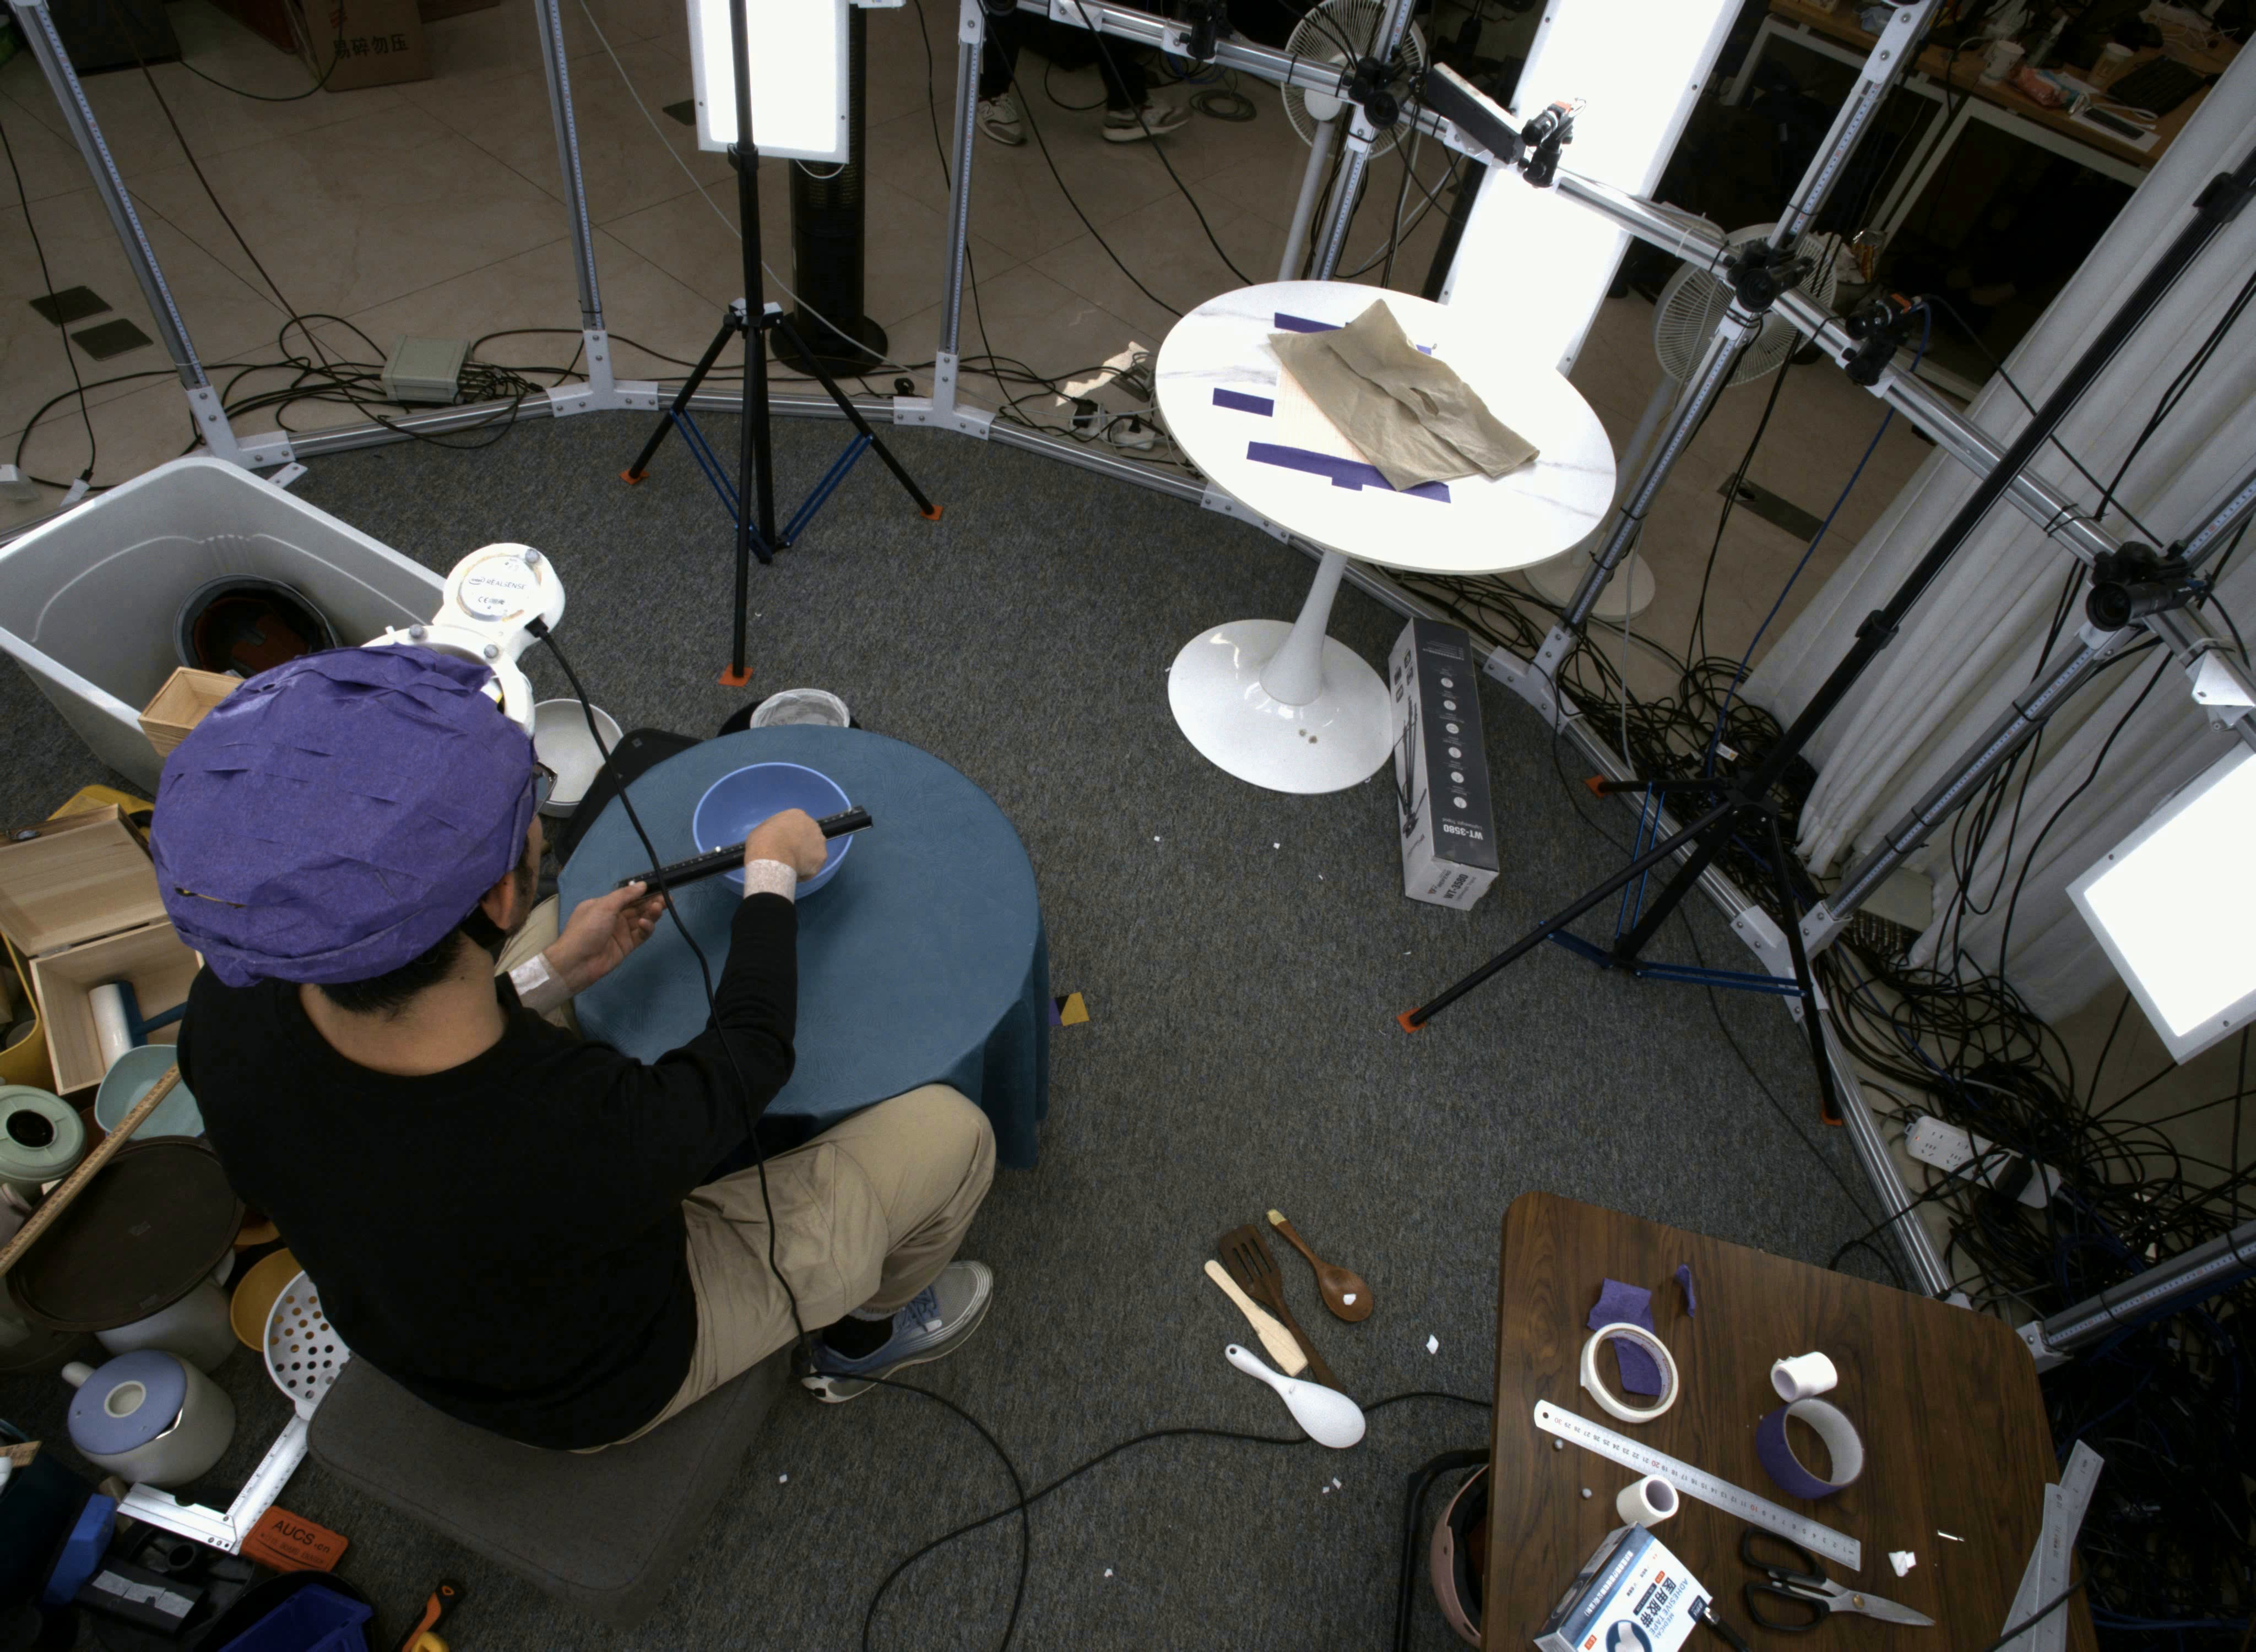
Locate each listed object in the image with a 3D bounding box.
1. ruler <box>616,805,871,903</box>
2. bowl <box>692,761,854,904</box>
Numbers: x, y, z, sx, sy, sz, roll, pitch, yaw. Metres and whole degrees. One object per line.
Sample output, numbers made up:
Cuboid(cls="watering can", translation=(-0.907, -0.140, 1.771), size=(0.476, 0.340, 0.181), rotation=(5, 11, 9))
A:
Cuboid(cls="ruler", translation=(-0.461, 0.025, 1.559), size=(0.314, 0.017, 0.038), rotation=(-19, 54, -26))
Cuboid(cls="bowl", translation=(-0.445, 0.022, 1.635), size=(0.196, 0.097, 0.193), rotation=(8, 51, -8))
